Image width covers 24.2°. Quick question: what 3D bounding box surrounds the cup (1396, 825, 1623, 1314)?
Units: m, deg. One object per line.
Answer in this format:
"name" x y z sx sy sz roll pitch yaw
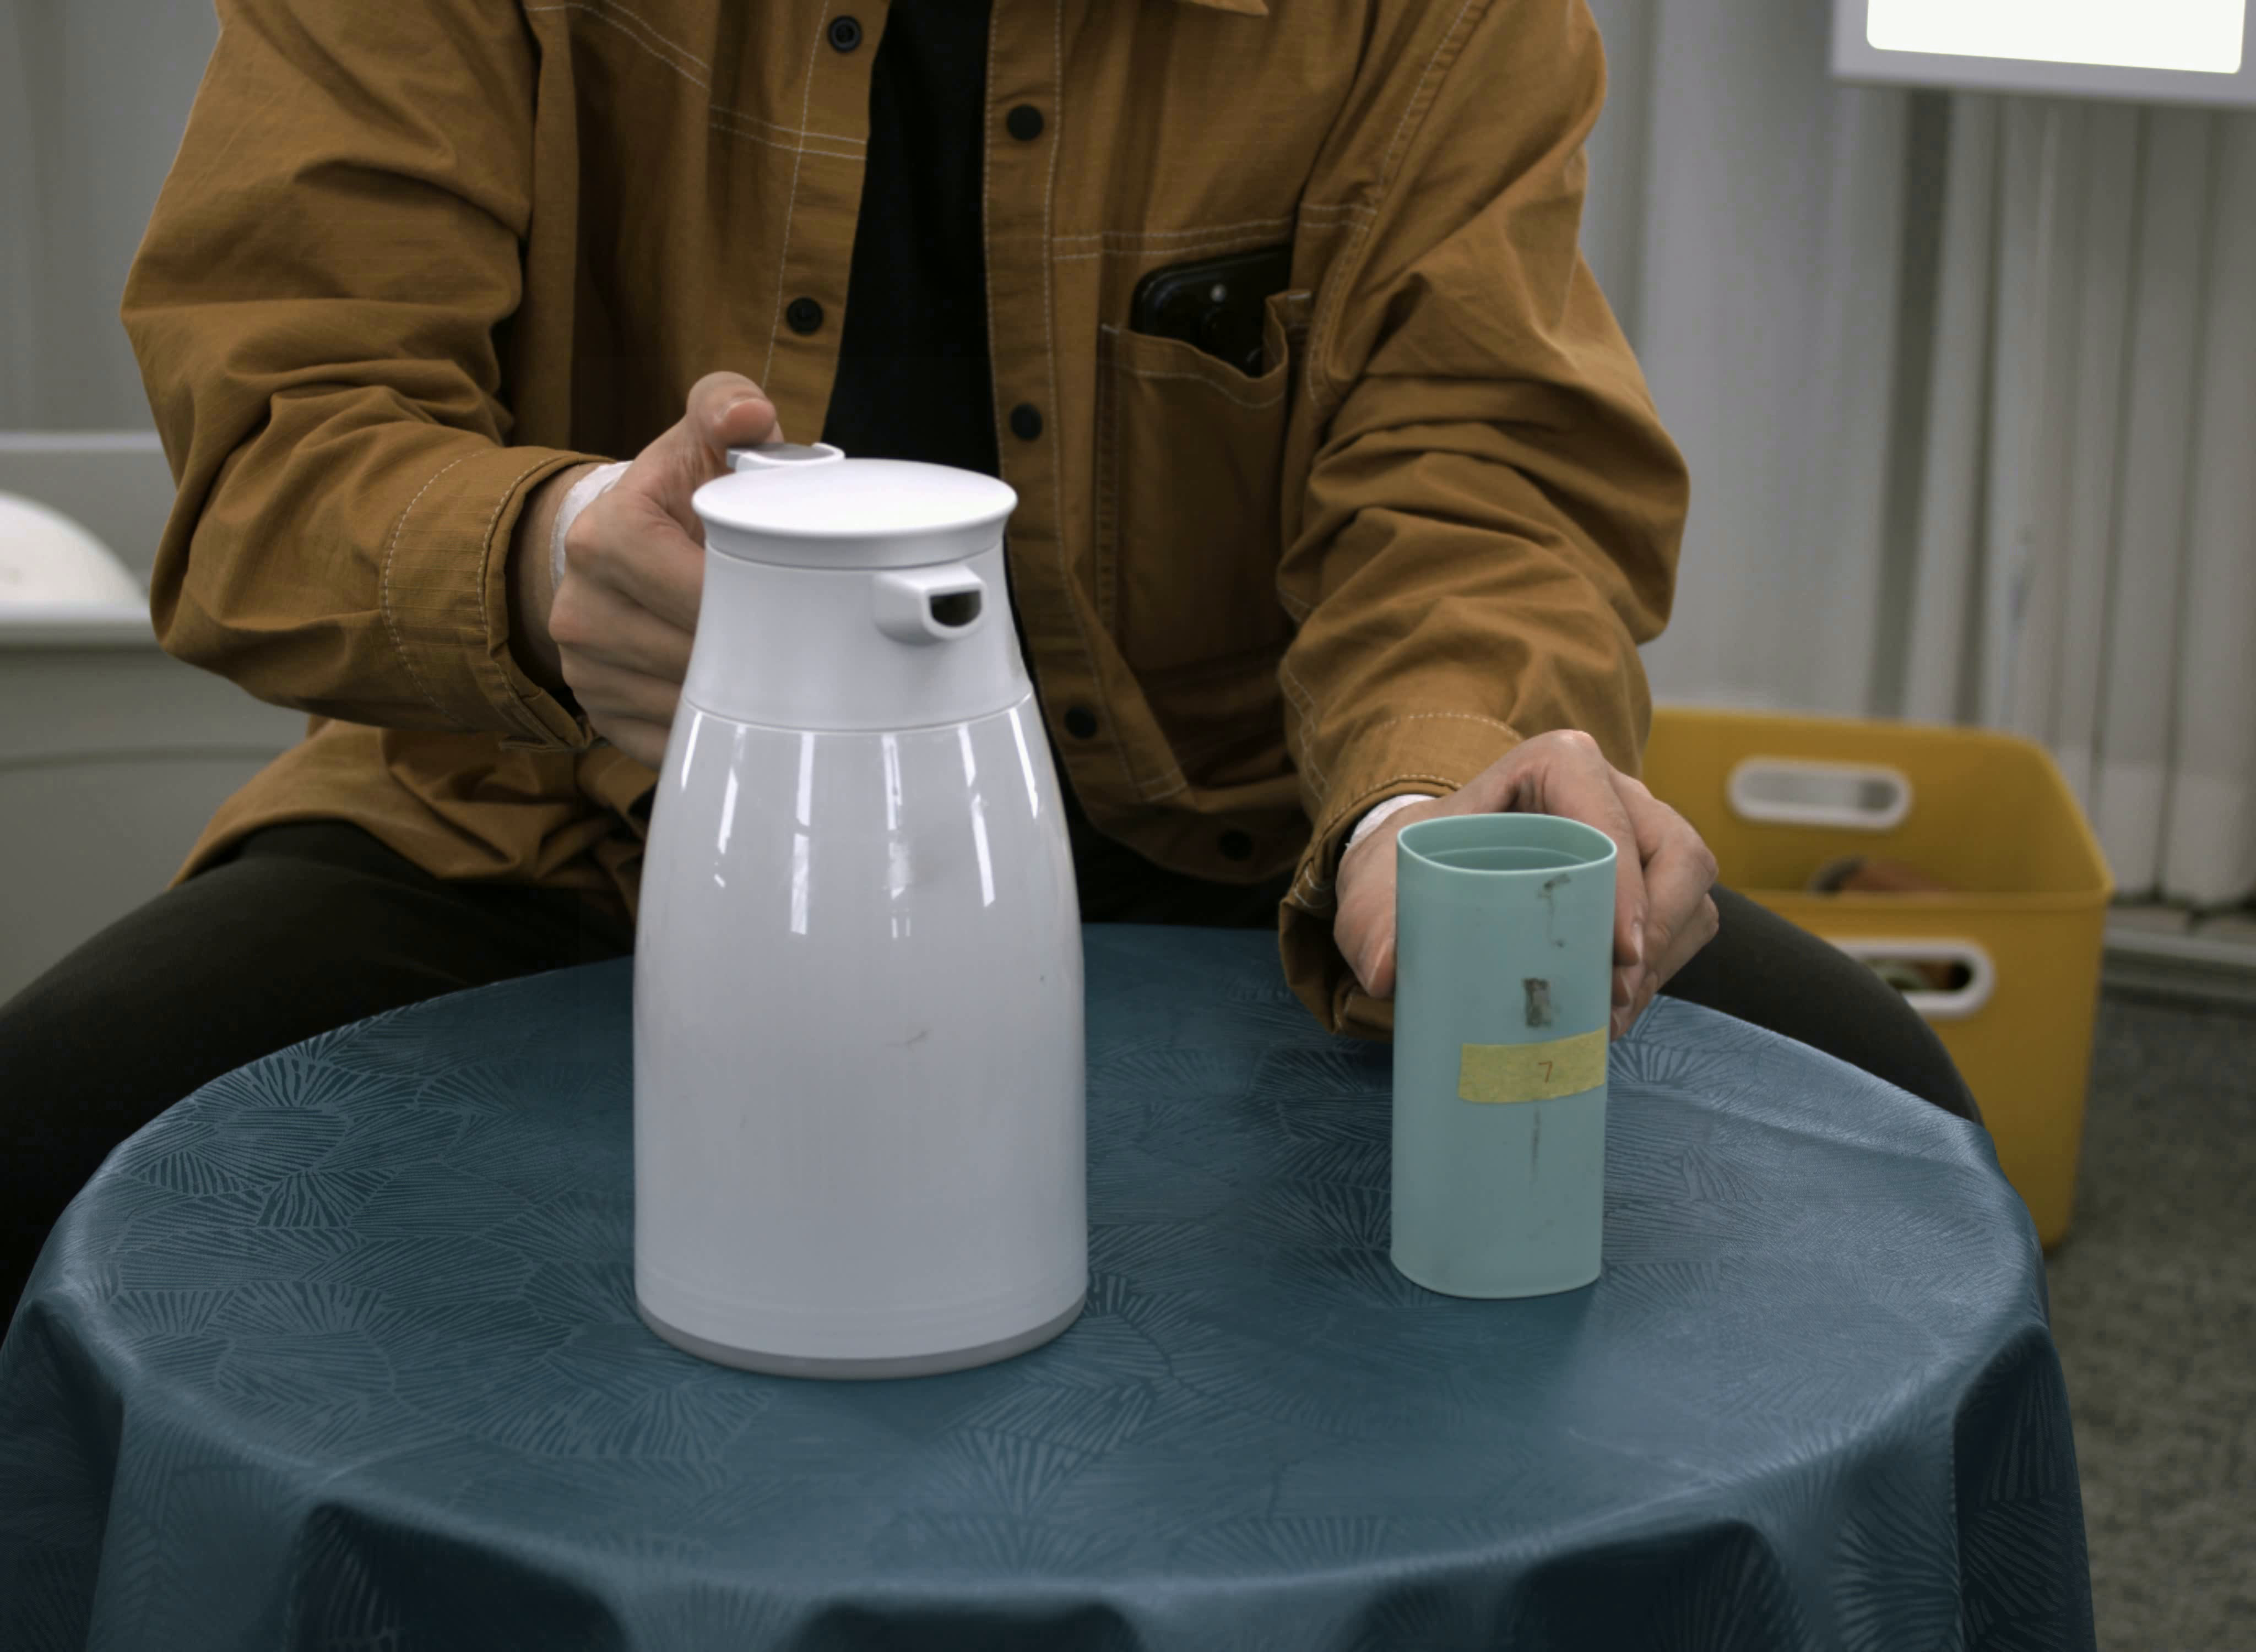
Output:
"cup" 0.110 0.070 1.545 0.066 0.133 0.066 1 16 0

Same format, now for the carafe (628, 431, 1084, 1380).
"carafe" -0.088 0.014 1.509 0.133 0.250 0.165 -10 18 -30
